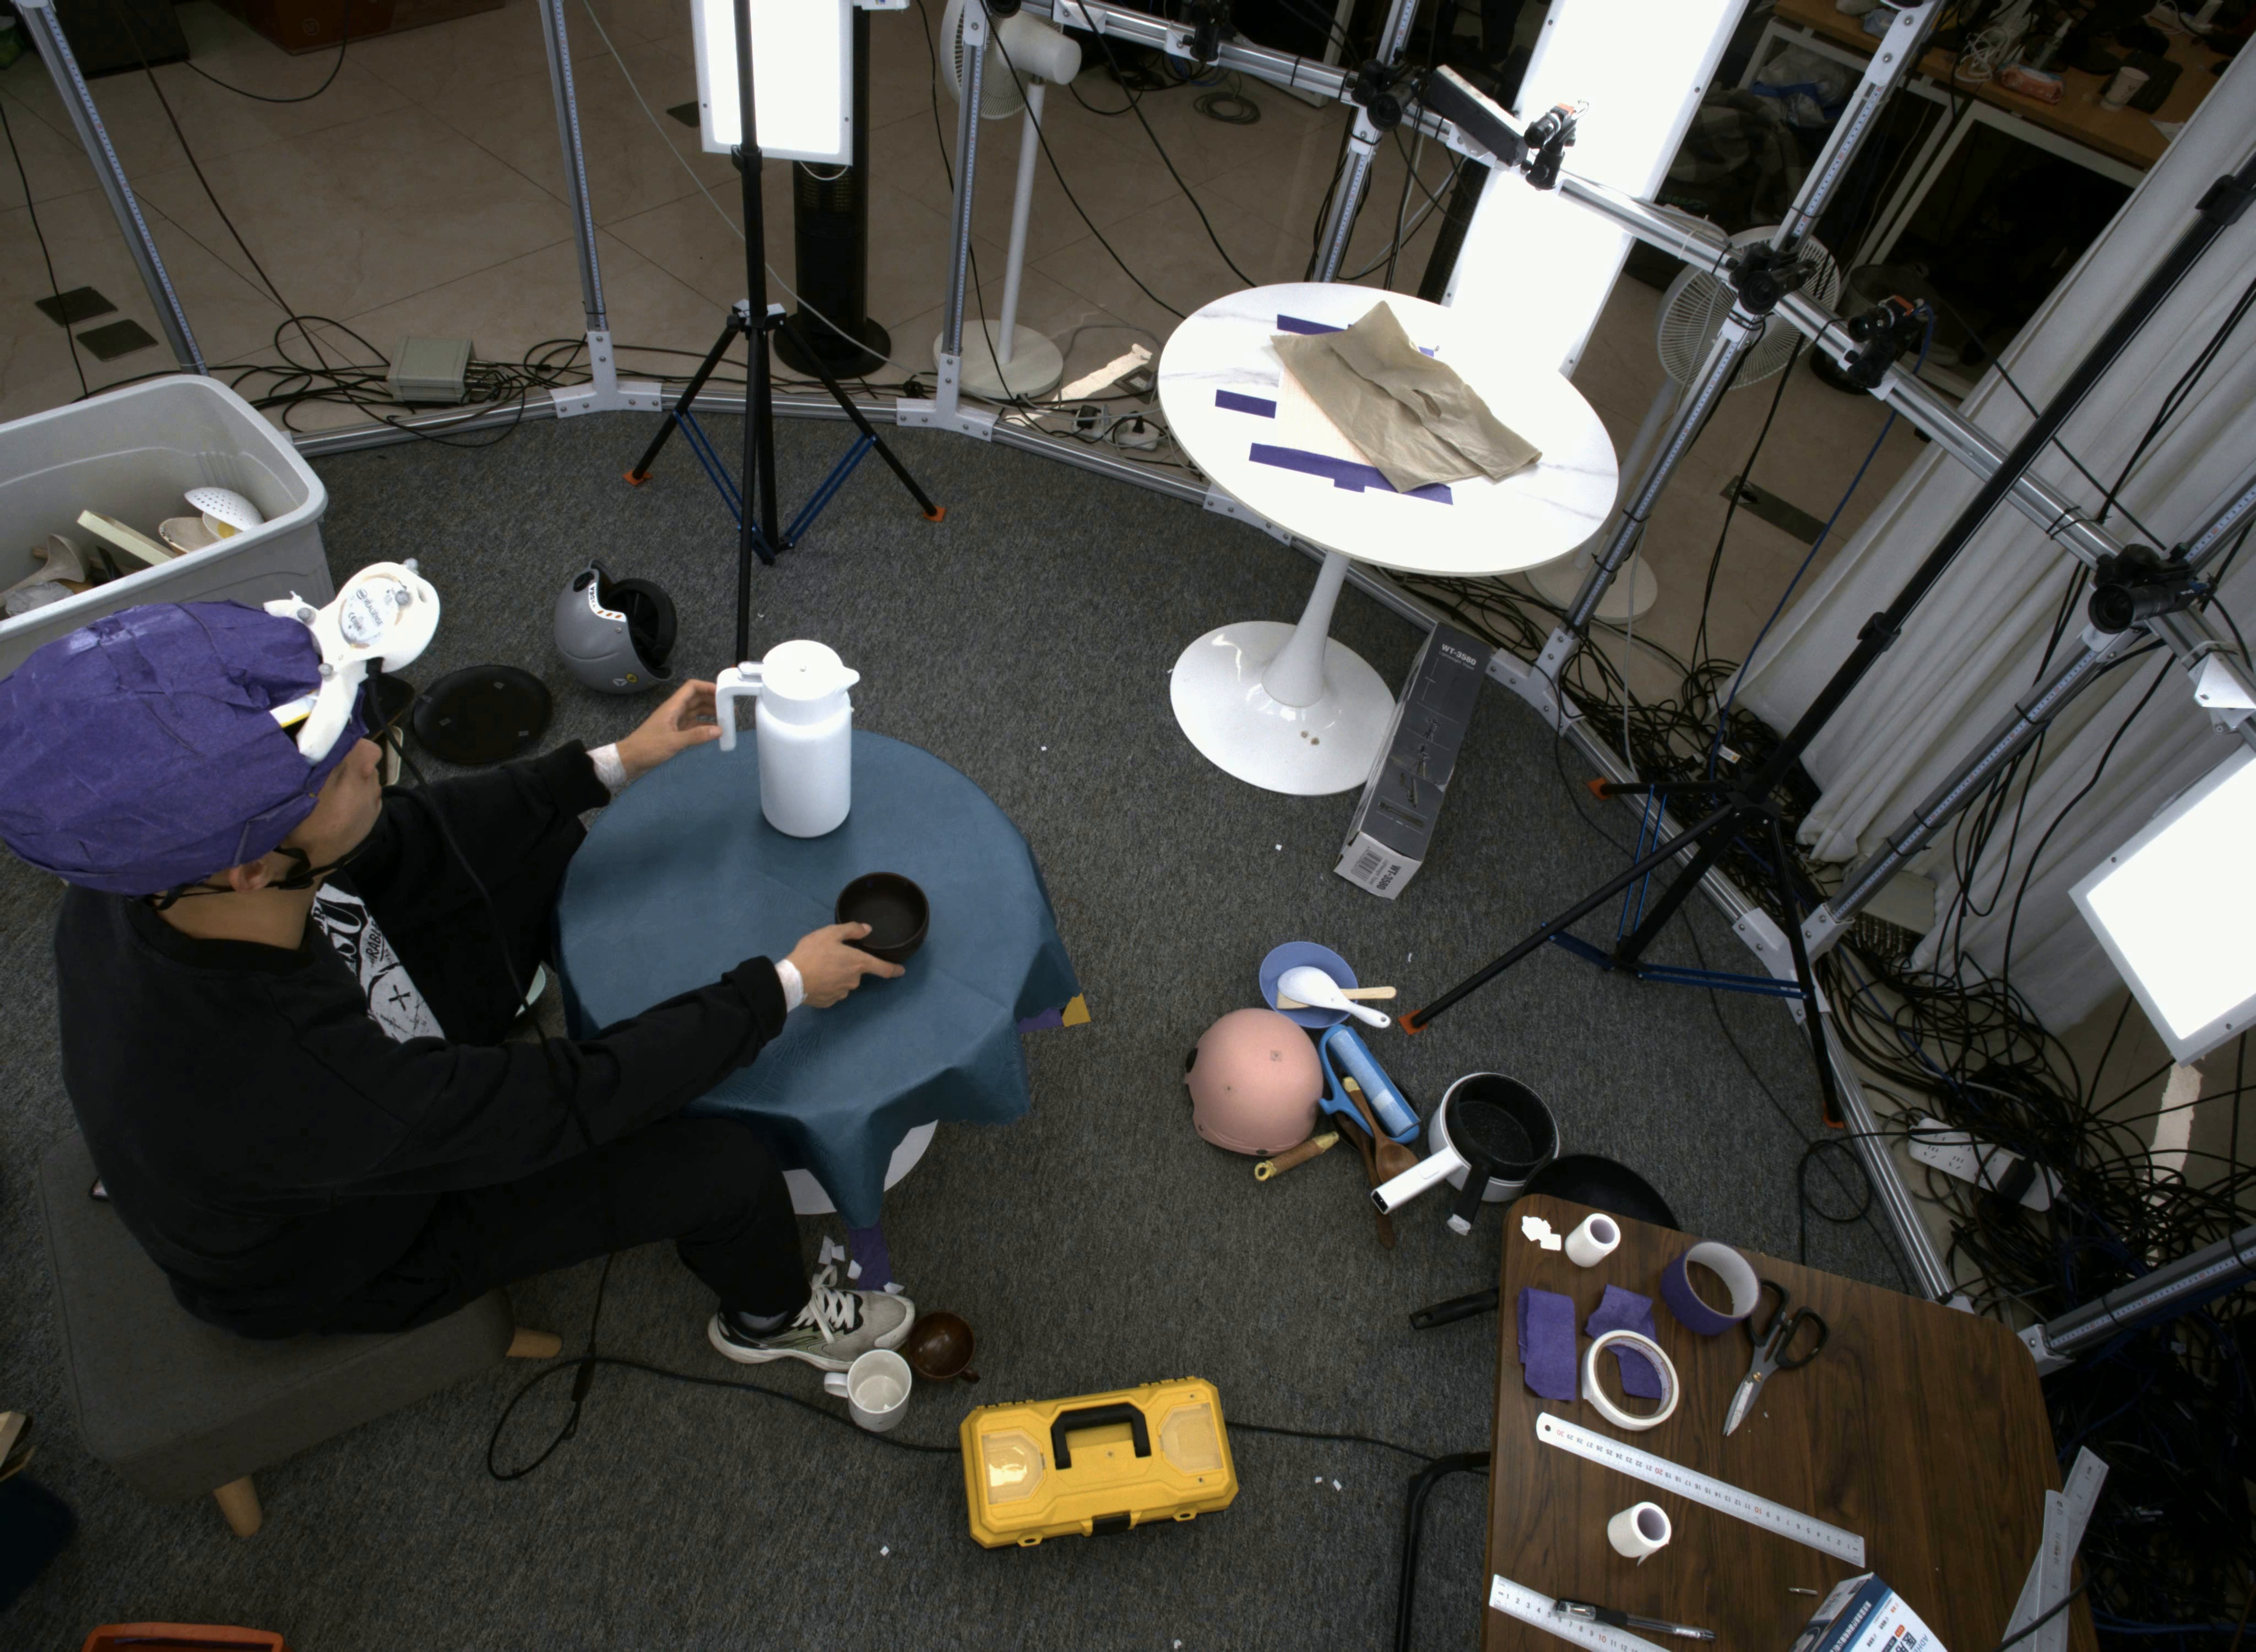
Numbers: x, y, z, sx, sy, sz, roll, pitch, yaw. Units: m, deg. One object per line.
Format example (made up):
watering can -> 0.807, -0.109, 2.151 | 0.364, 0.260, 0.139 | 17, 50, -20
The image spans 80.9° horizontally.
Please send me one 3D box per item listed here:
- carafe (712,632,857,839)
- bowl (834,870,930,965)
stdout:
carafe -> -0.429, -0.109, 1.629 | 0.173, 0.274, 0.121 | -1, 54, -13
bowl -> -0.306, 0.119, 1.615 | 0.118, 0.071, 0.116 | 7, 52, -8
